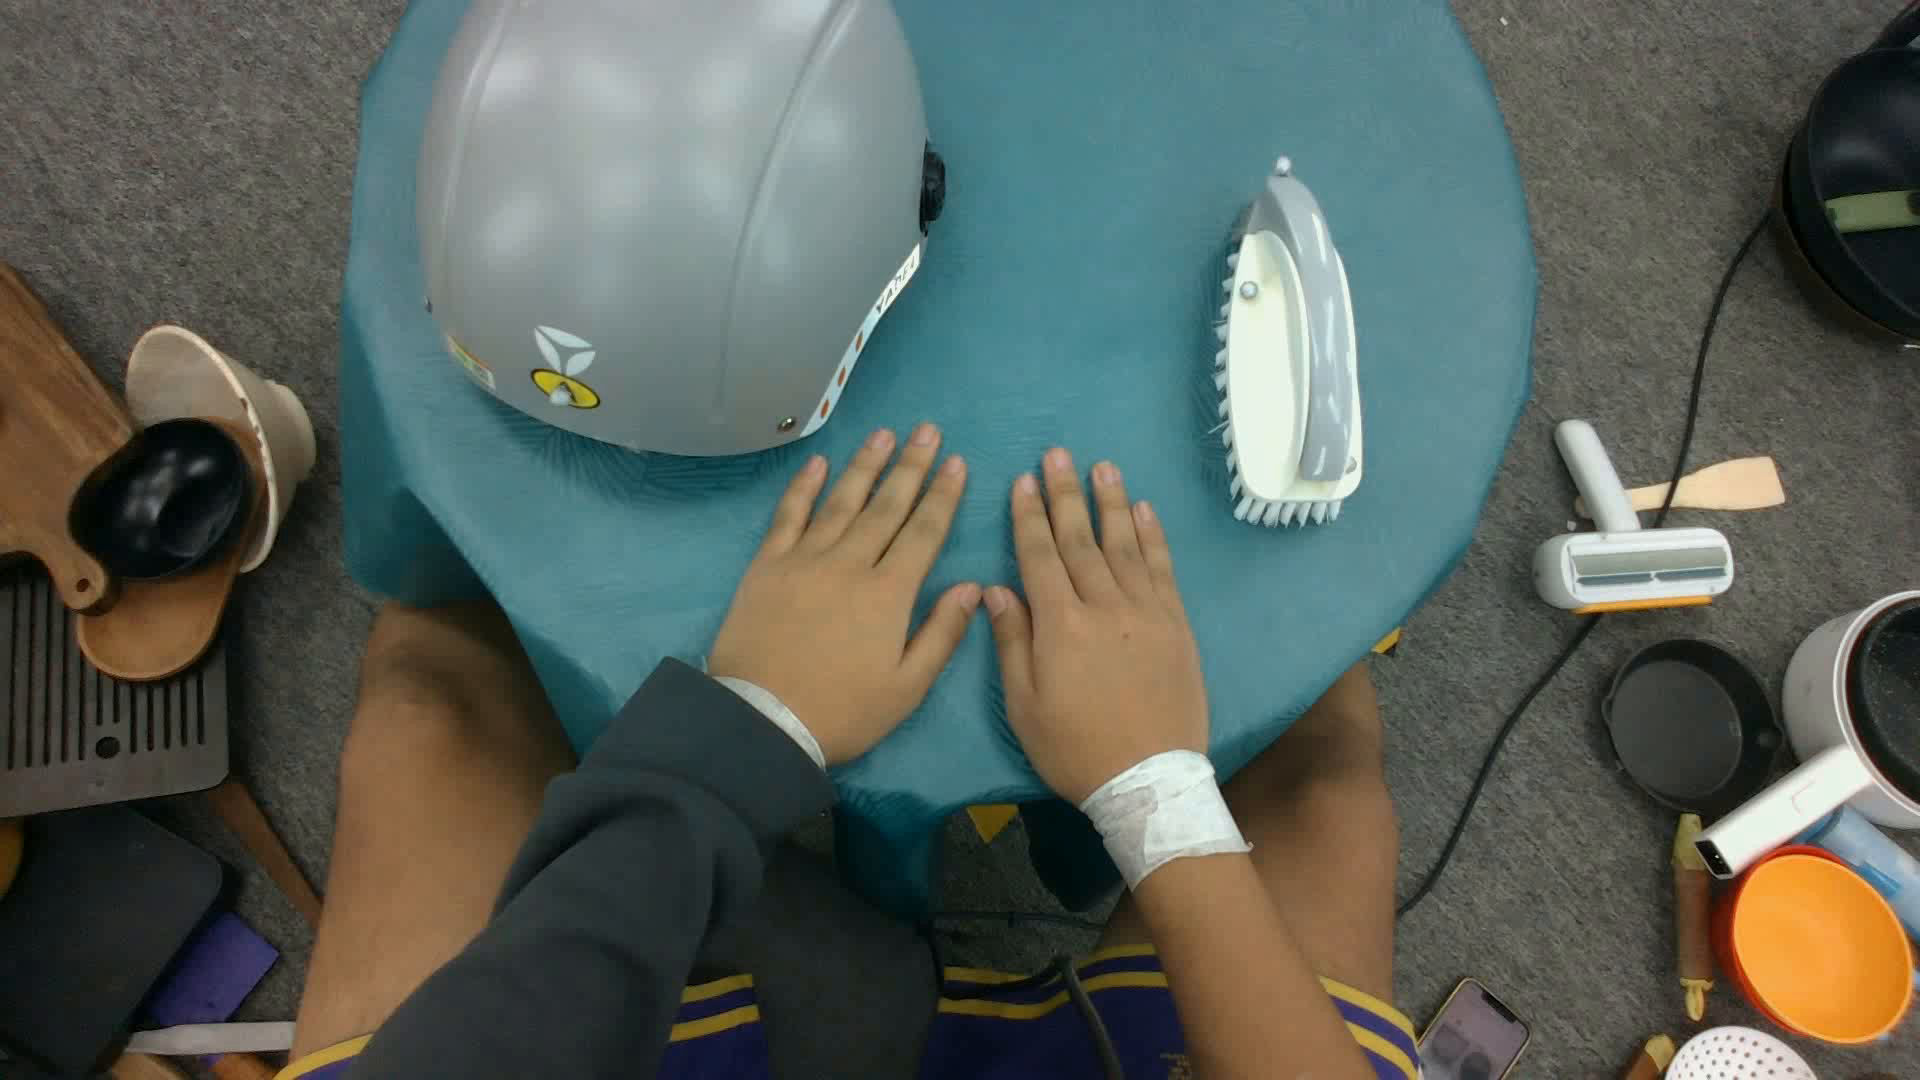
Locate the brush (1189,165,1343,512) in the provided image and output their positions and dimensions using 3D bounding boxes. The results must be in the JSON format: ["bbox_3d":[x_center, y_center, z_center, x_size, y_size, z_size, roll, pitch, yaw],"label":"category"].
[{"bbox_3d":[0.147,-0.109,0.654,0.061,0.094,0.176,0,72,-8],"label":"brush"}]

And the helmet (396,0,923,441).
[{"bbox_3d":[-0.131,-0.188,0.606,0.232,0.168,0.277,18,71,-2],"label":"helmet"}]
